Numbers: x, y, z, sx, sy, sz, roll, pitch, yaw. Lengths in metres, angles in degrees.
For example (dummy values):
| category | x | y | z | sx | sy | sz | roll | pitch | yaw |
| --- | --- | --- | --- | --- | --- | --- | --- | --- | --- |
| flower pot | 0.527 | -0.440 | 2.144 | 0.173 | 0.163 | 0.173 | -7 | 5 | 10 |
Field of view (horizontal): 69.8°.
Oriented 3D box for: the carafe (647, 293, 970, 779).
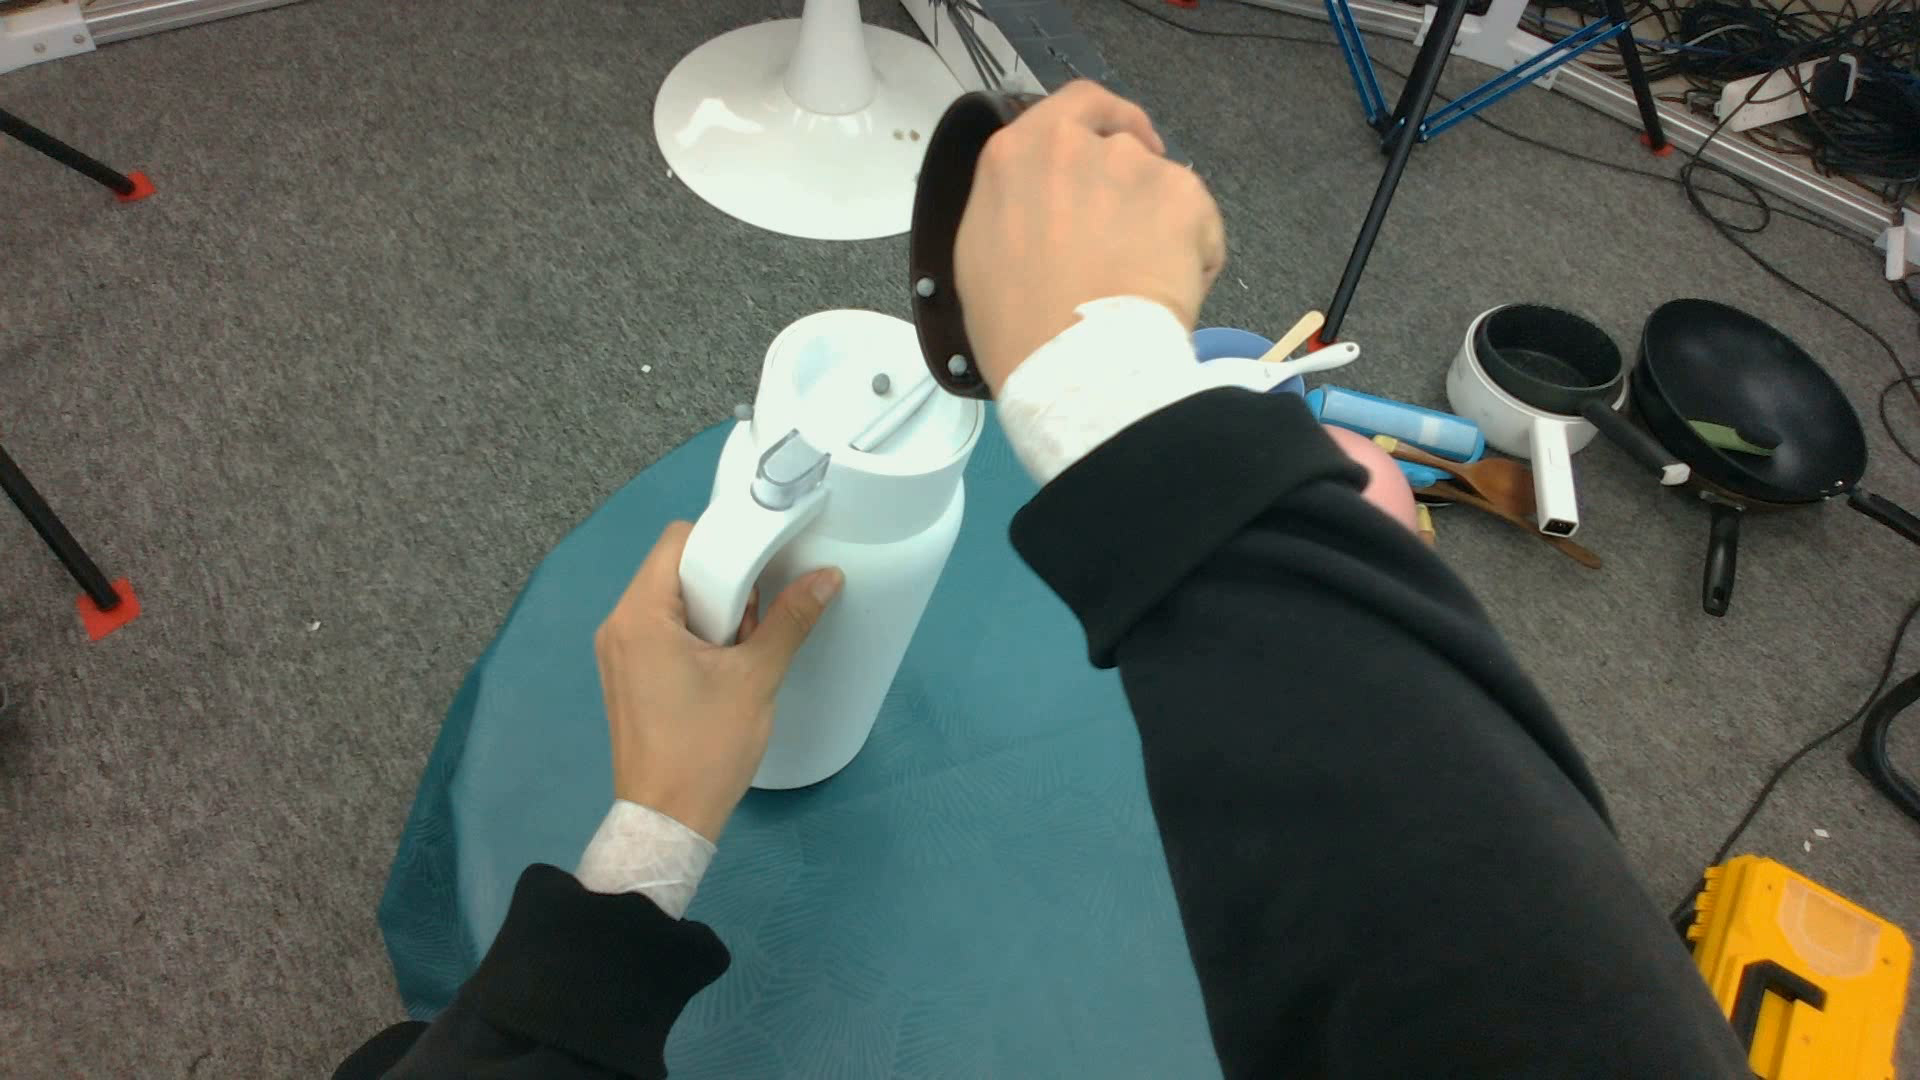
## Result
| category | x | y | z | sx | sy | sz | roll | pitch | yaw |
| --- | --- | --- | --- | --- | --- | --- | --- | --- | --- |
| carafe | -0.086 | 0.018 | 0.678 | 0.124 | 0.267 | 0.174 | 35 | 49 | 7 |

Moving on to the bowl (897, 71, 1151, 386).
| category | x | y | z | sx | sy | sz | roll | pitch | yaw |
| --- | --- | --- | --- | --- | --- | --- | --- | --- | --- |
| bowl | 0.031 | -0.118 | 0.542 | 0.070 | 0.117 | 0.118 | 2 | 51 | -29 |
